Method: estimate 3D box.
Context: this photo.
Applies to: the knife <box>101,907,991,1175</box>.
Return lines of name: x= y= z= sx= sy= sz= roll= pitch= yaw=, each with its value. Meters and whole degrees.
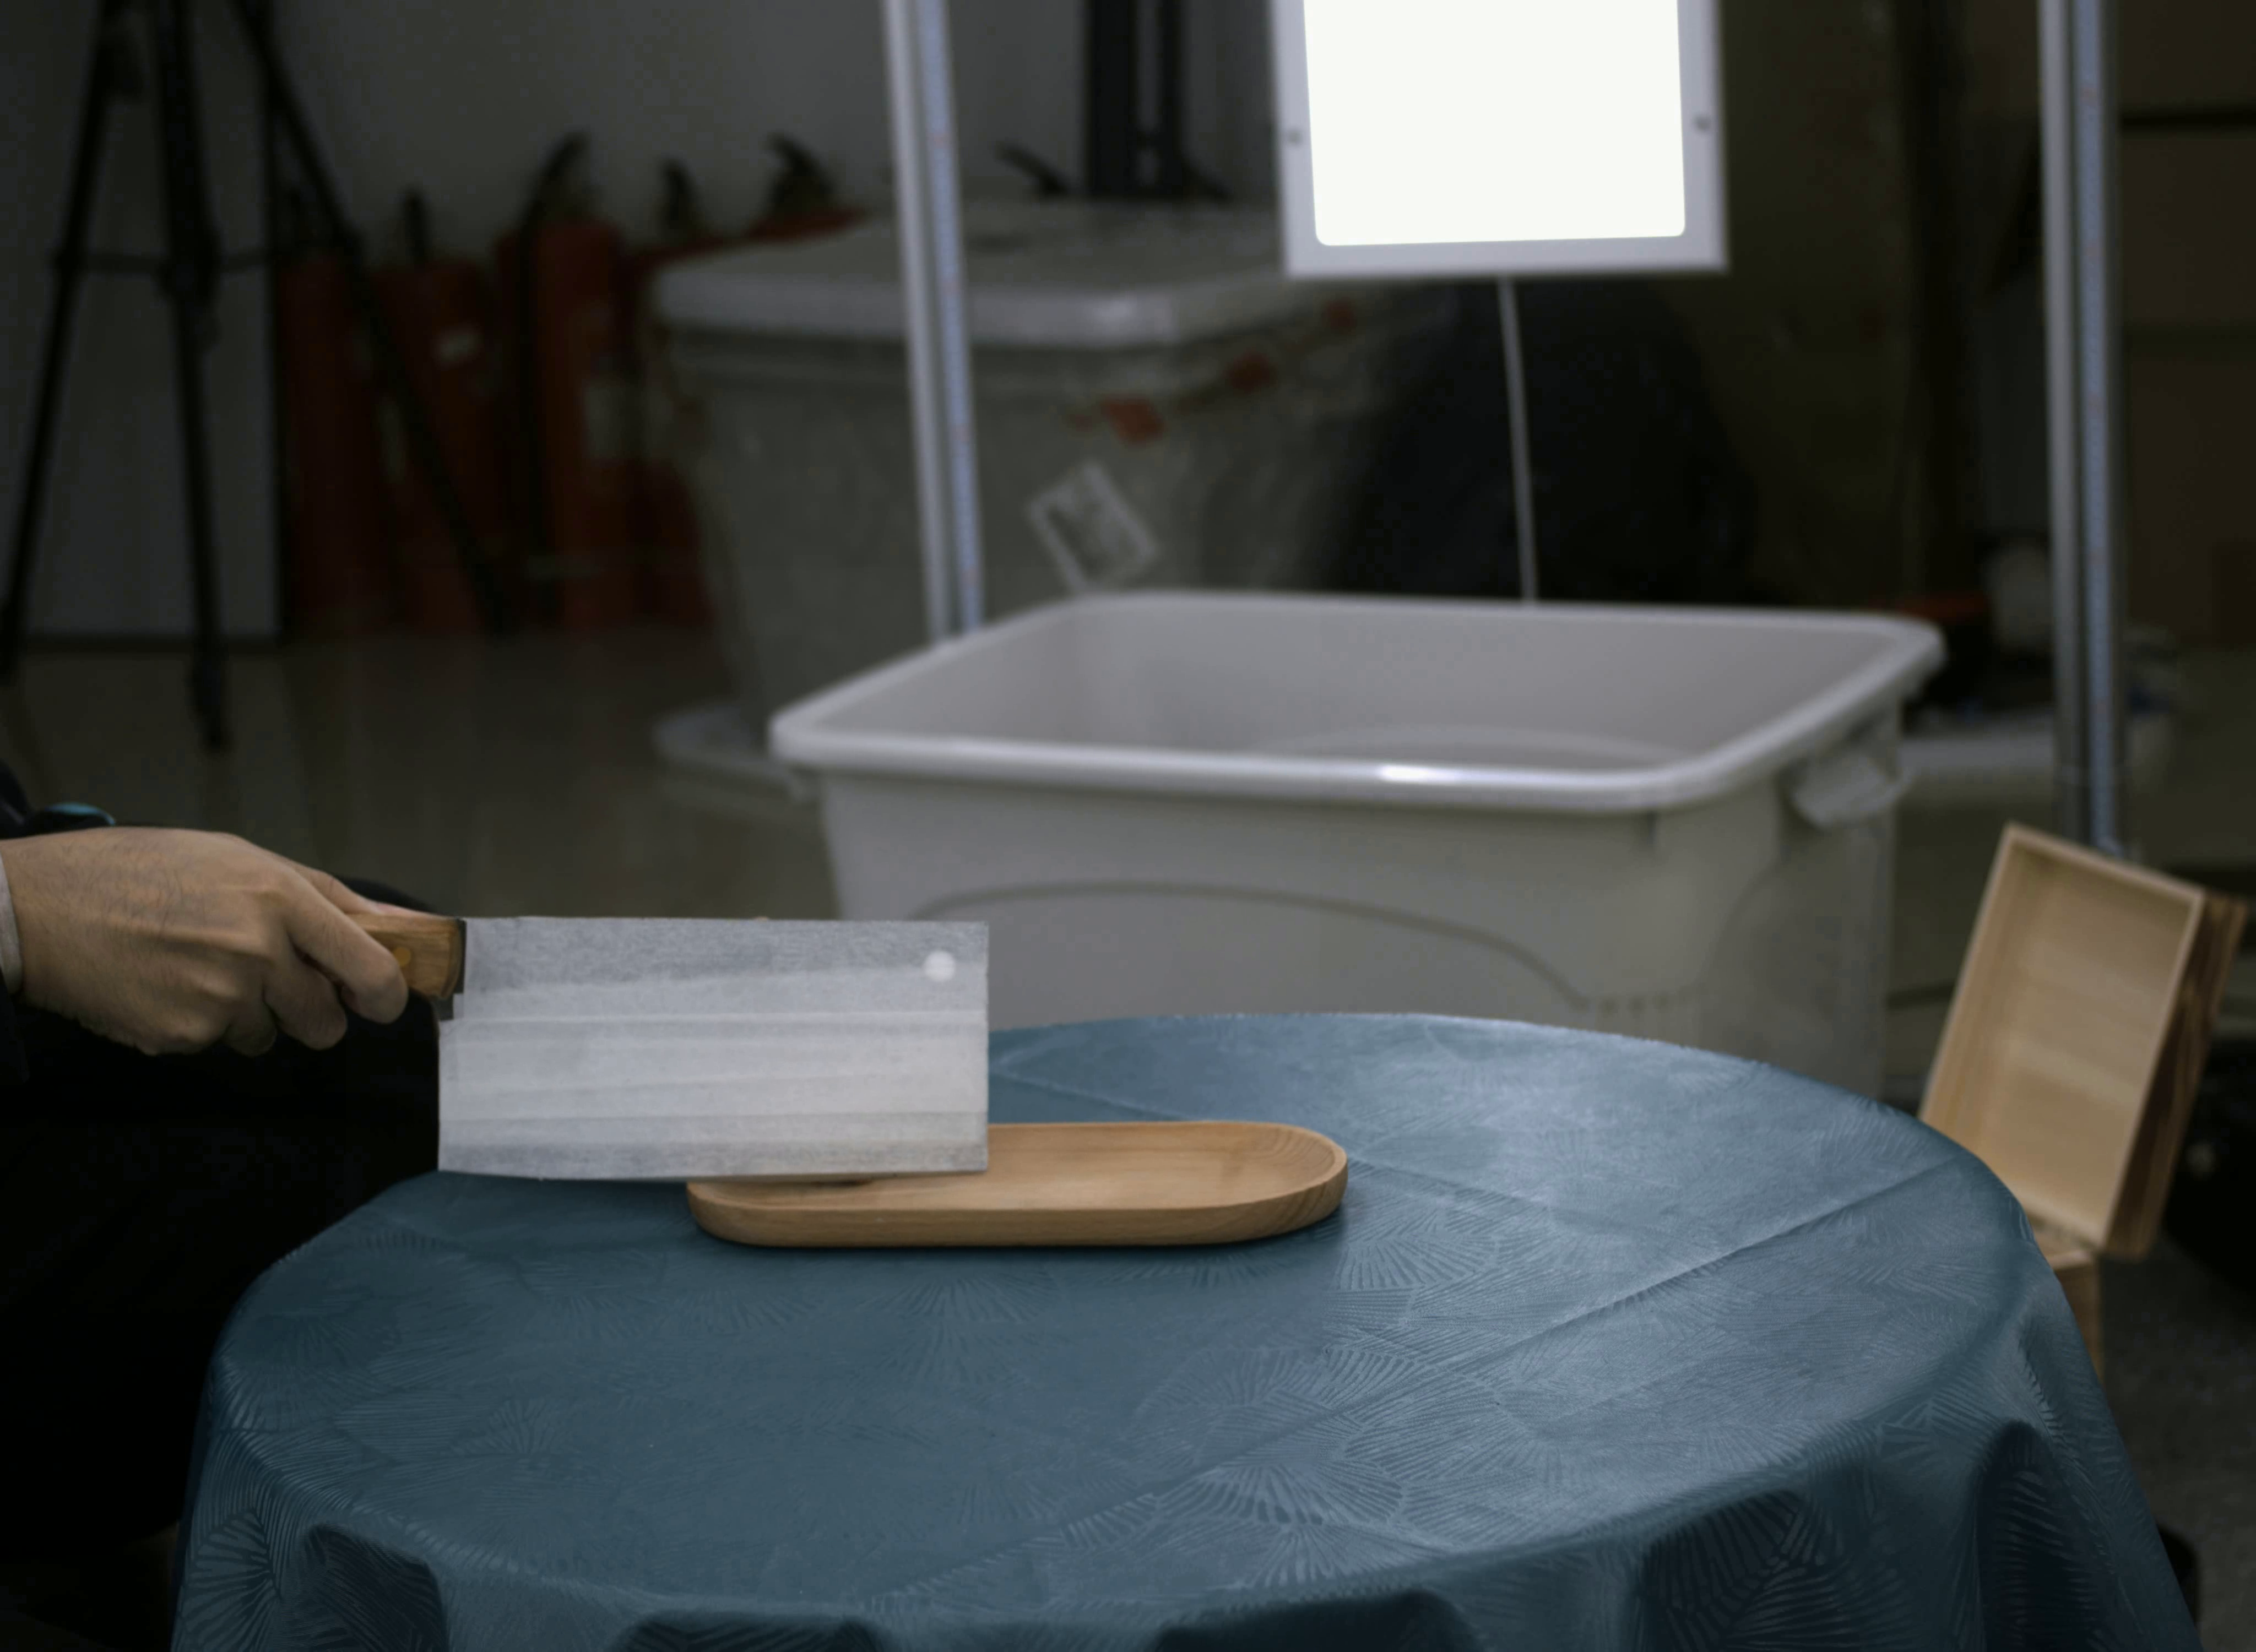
knife: x=-0.199 y=0.074 z=1.895 sx=0.305 sy=0.093 sz=0.021 roll=0 pitch=9 yaw=3

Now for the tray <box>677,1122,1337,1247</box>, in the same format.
tray: x=-0.042 y=0.124 z=1.888 sx=0.233 sy=0.020 sz=0.100 roll=-2 pitch=12 yaw=16
